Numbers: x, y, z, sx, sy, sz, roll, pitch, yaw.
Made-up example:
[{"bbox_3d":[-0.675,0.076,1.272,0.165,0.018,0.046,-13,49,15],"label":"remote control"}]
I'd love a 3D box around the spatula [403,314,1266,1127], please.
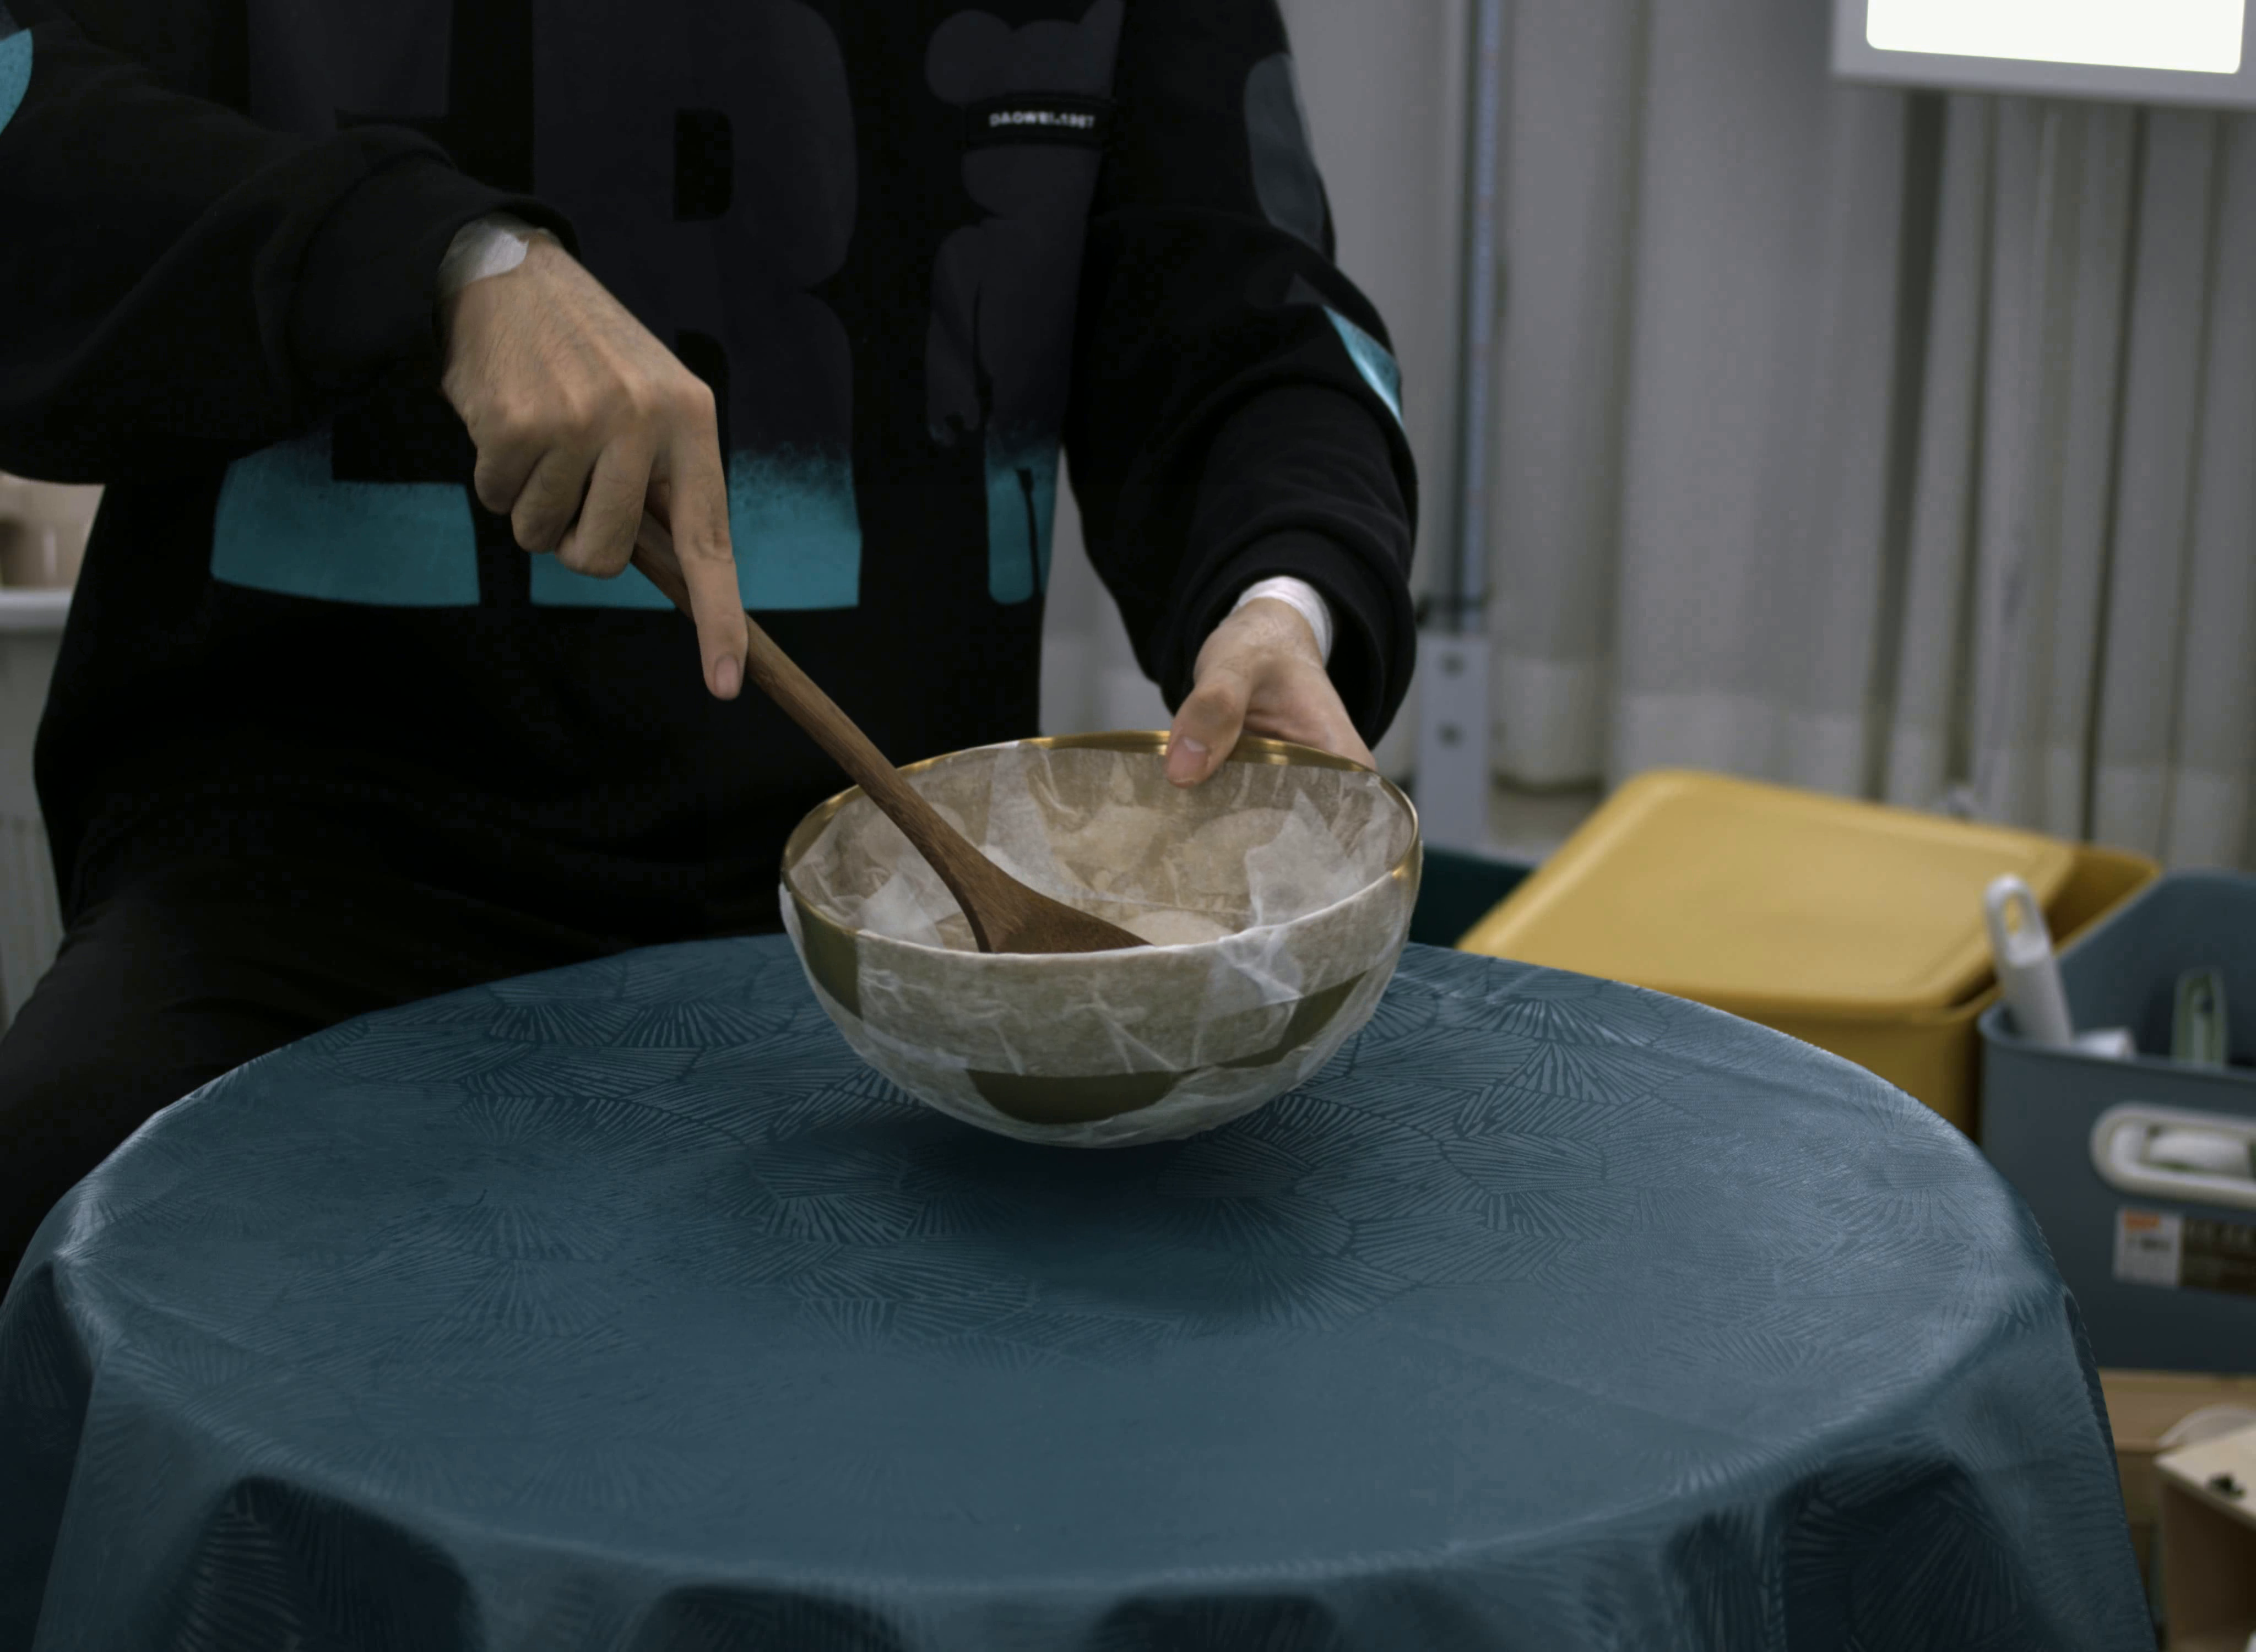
[{"bbox_3d":[-0.101,-0.040,1.674,0.383,0.016,0.096,45,29,14],"label":"spatula"}]

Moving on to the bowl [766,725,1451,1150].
[{"bbox_3d":[-0.005,0.044,1.646,0.214,0.095,0.213,-4,19,2],"label":"bowl"}]
